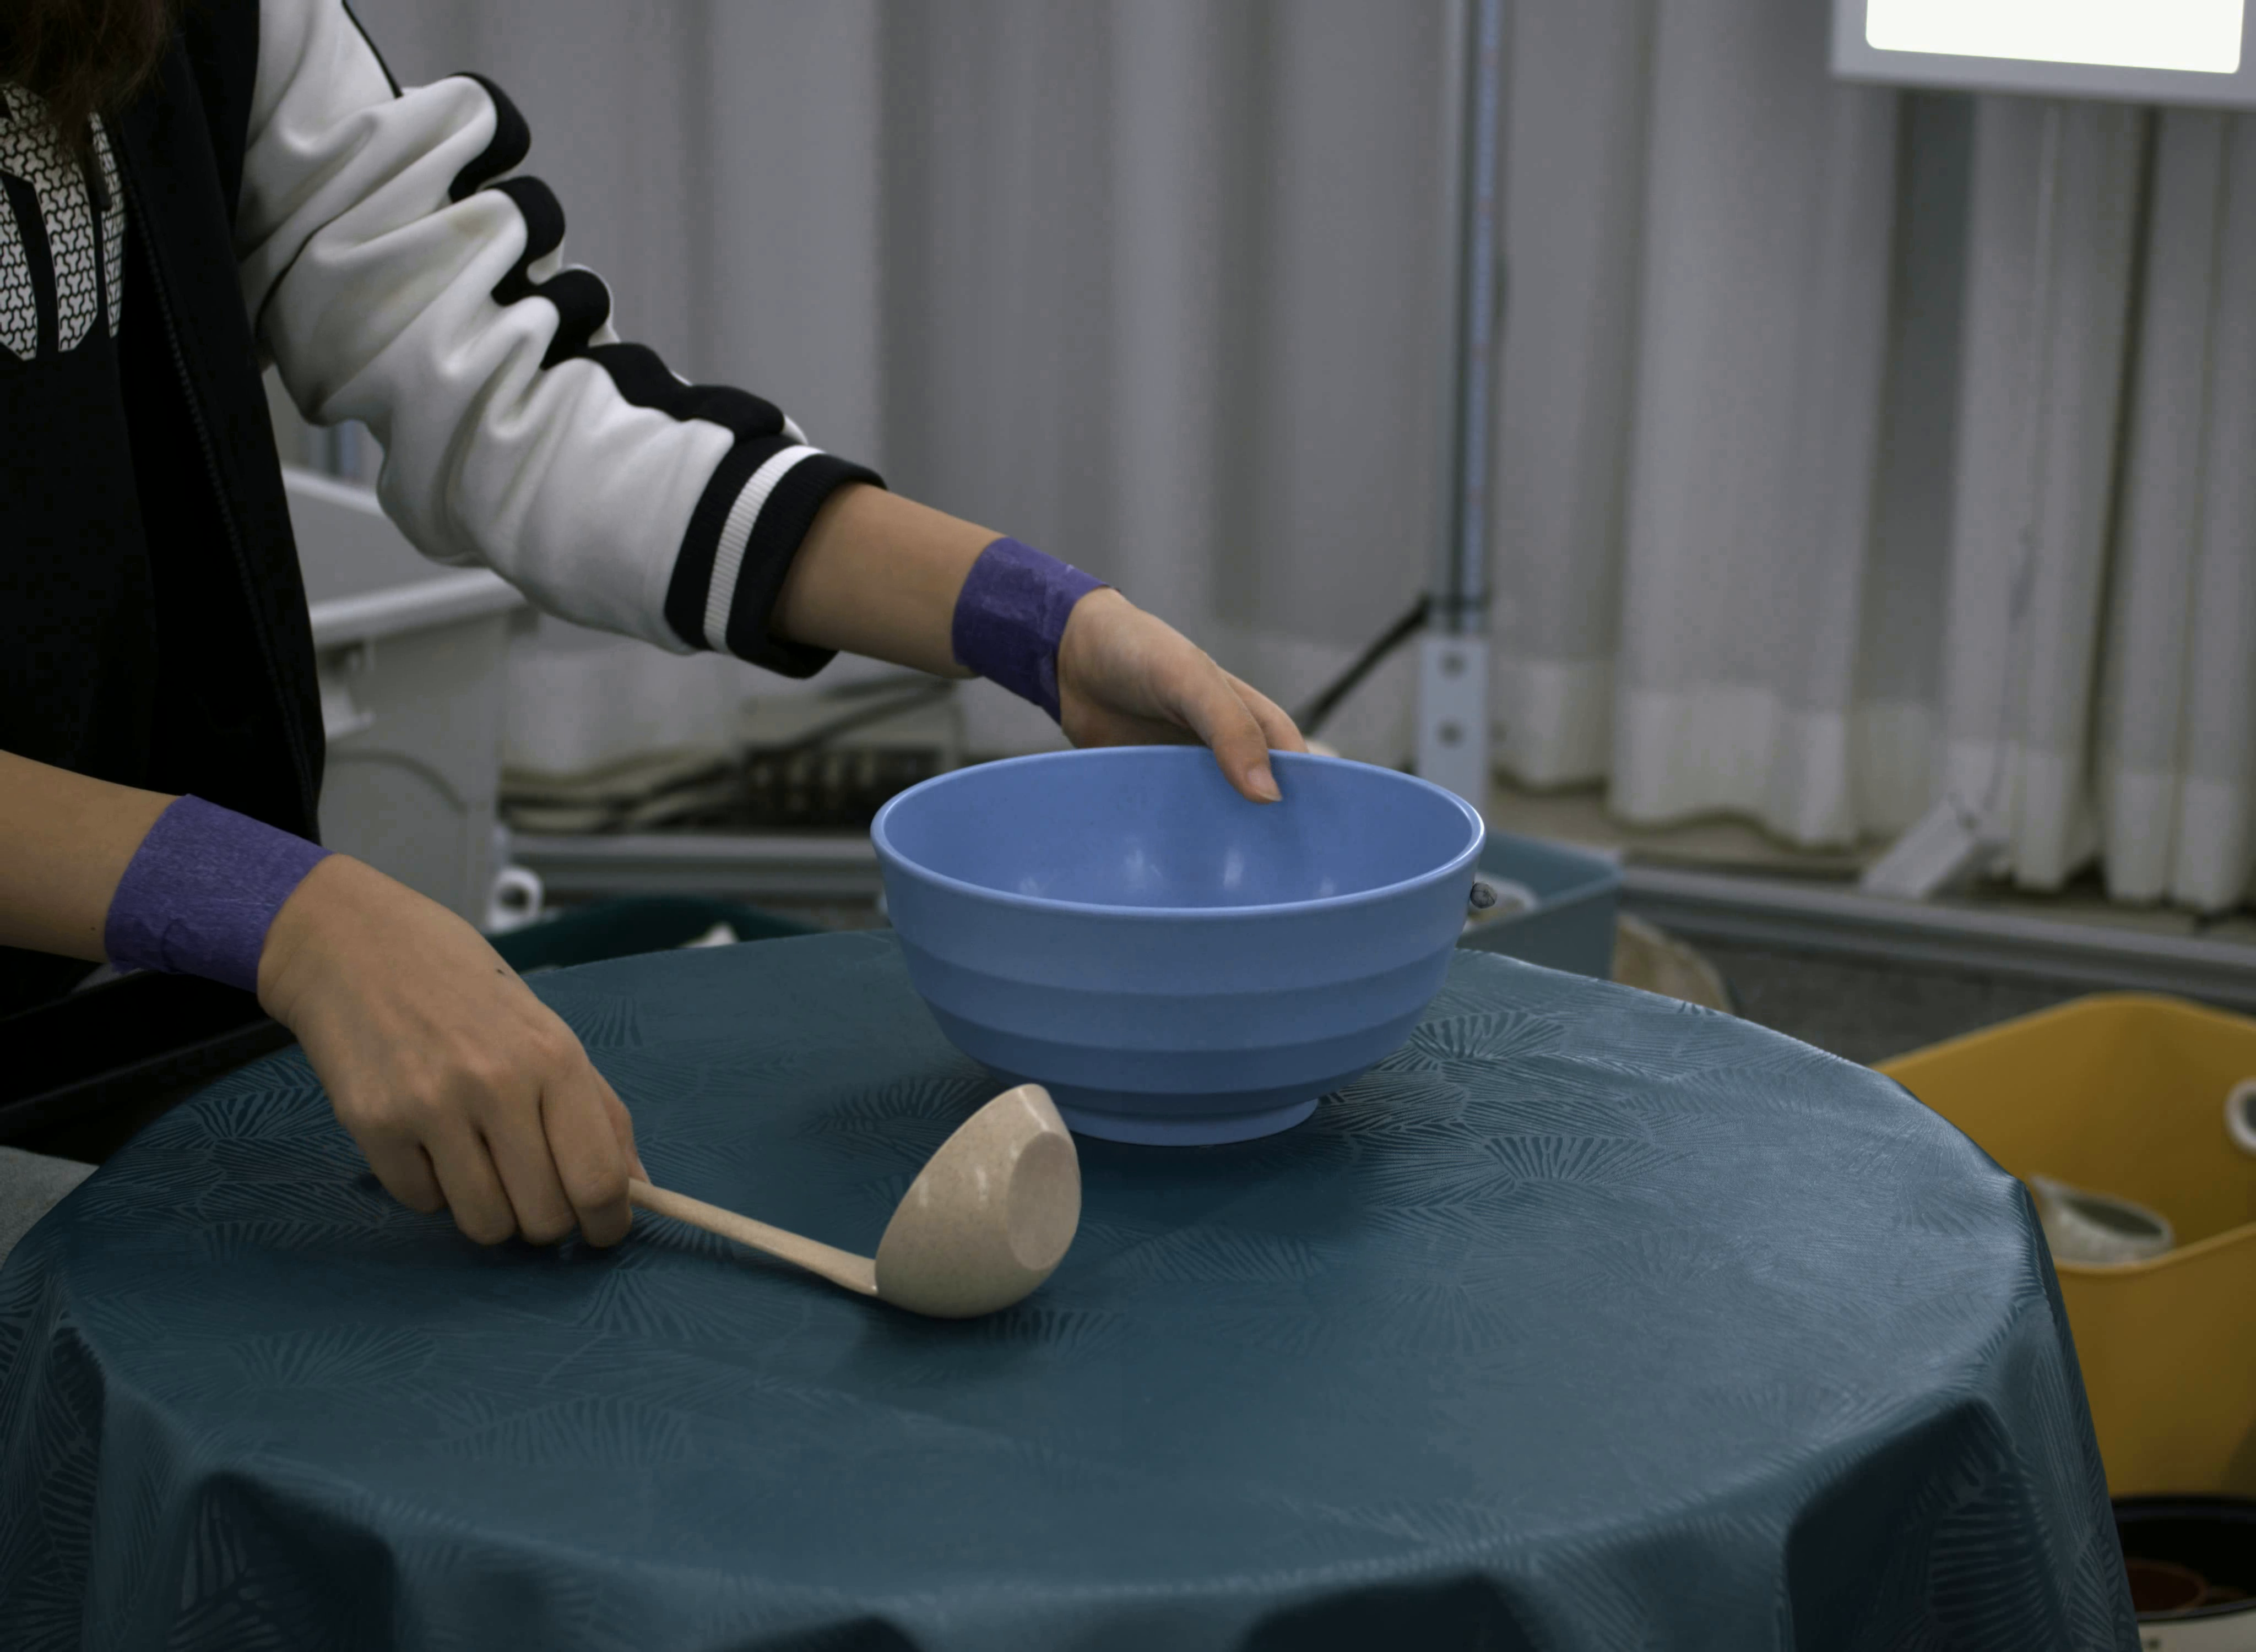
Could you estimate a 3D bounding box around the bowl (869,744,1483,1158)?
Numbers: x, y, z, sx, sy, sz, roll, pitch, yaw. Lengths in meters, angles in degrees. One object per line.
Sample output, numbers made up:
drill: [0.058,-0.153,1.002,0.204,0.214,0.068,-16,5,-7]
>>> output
bowl: [0.015,0.047,1.692,0.196,0.096,0.195,0,18,0]

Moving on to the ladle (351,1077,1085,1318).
ladle: [-0.129,0.090,1.554,0.251,0.073,0.072,10,17,29]
